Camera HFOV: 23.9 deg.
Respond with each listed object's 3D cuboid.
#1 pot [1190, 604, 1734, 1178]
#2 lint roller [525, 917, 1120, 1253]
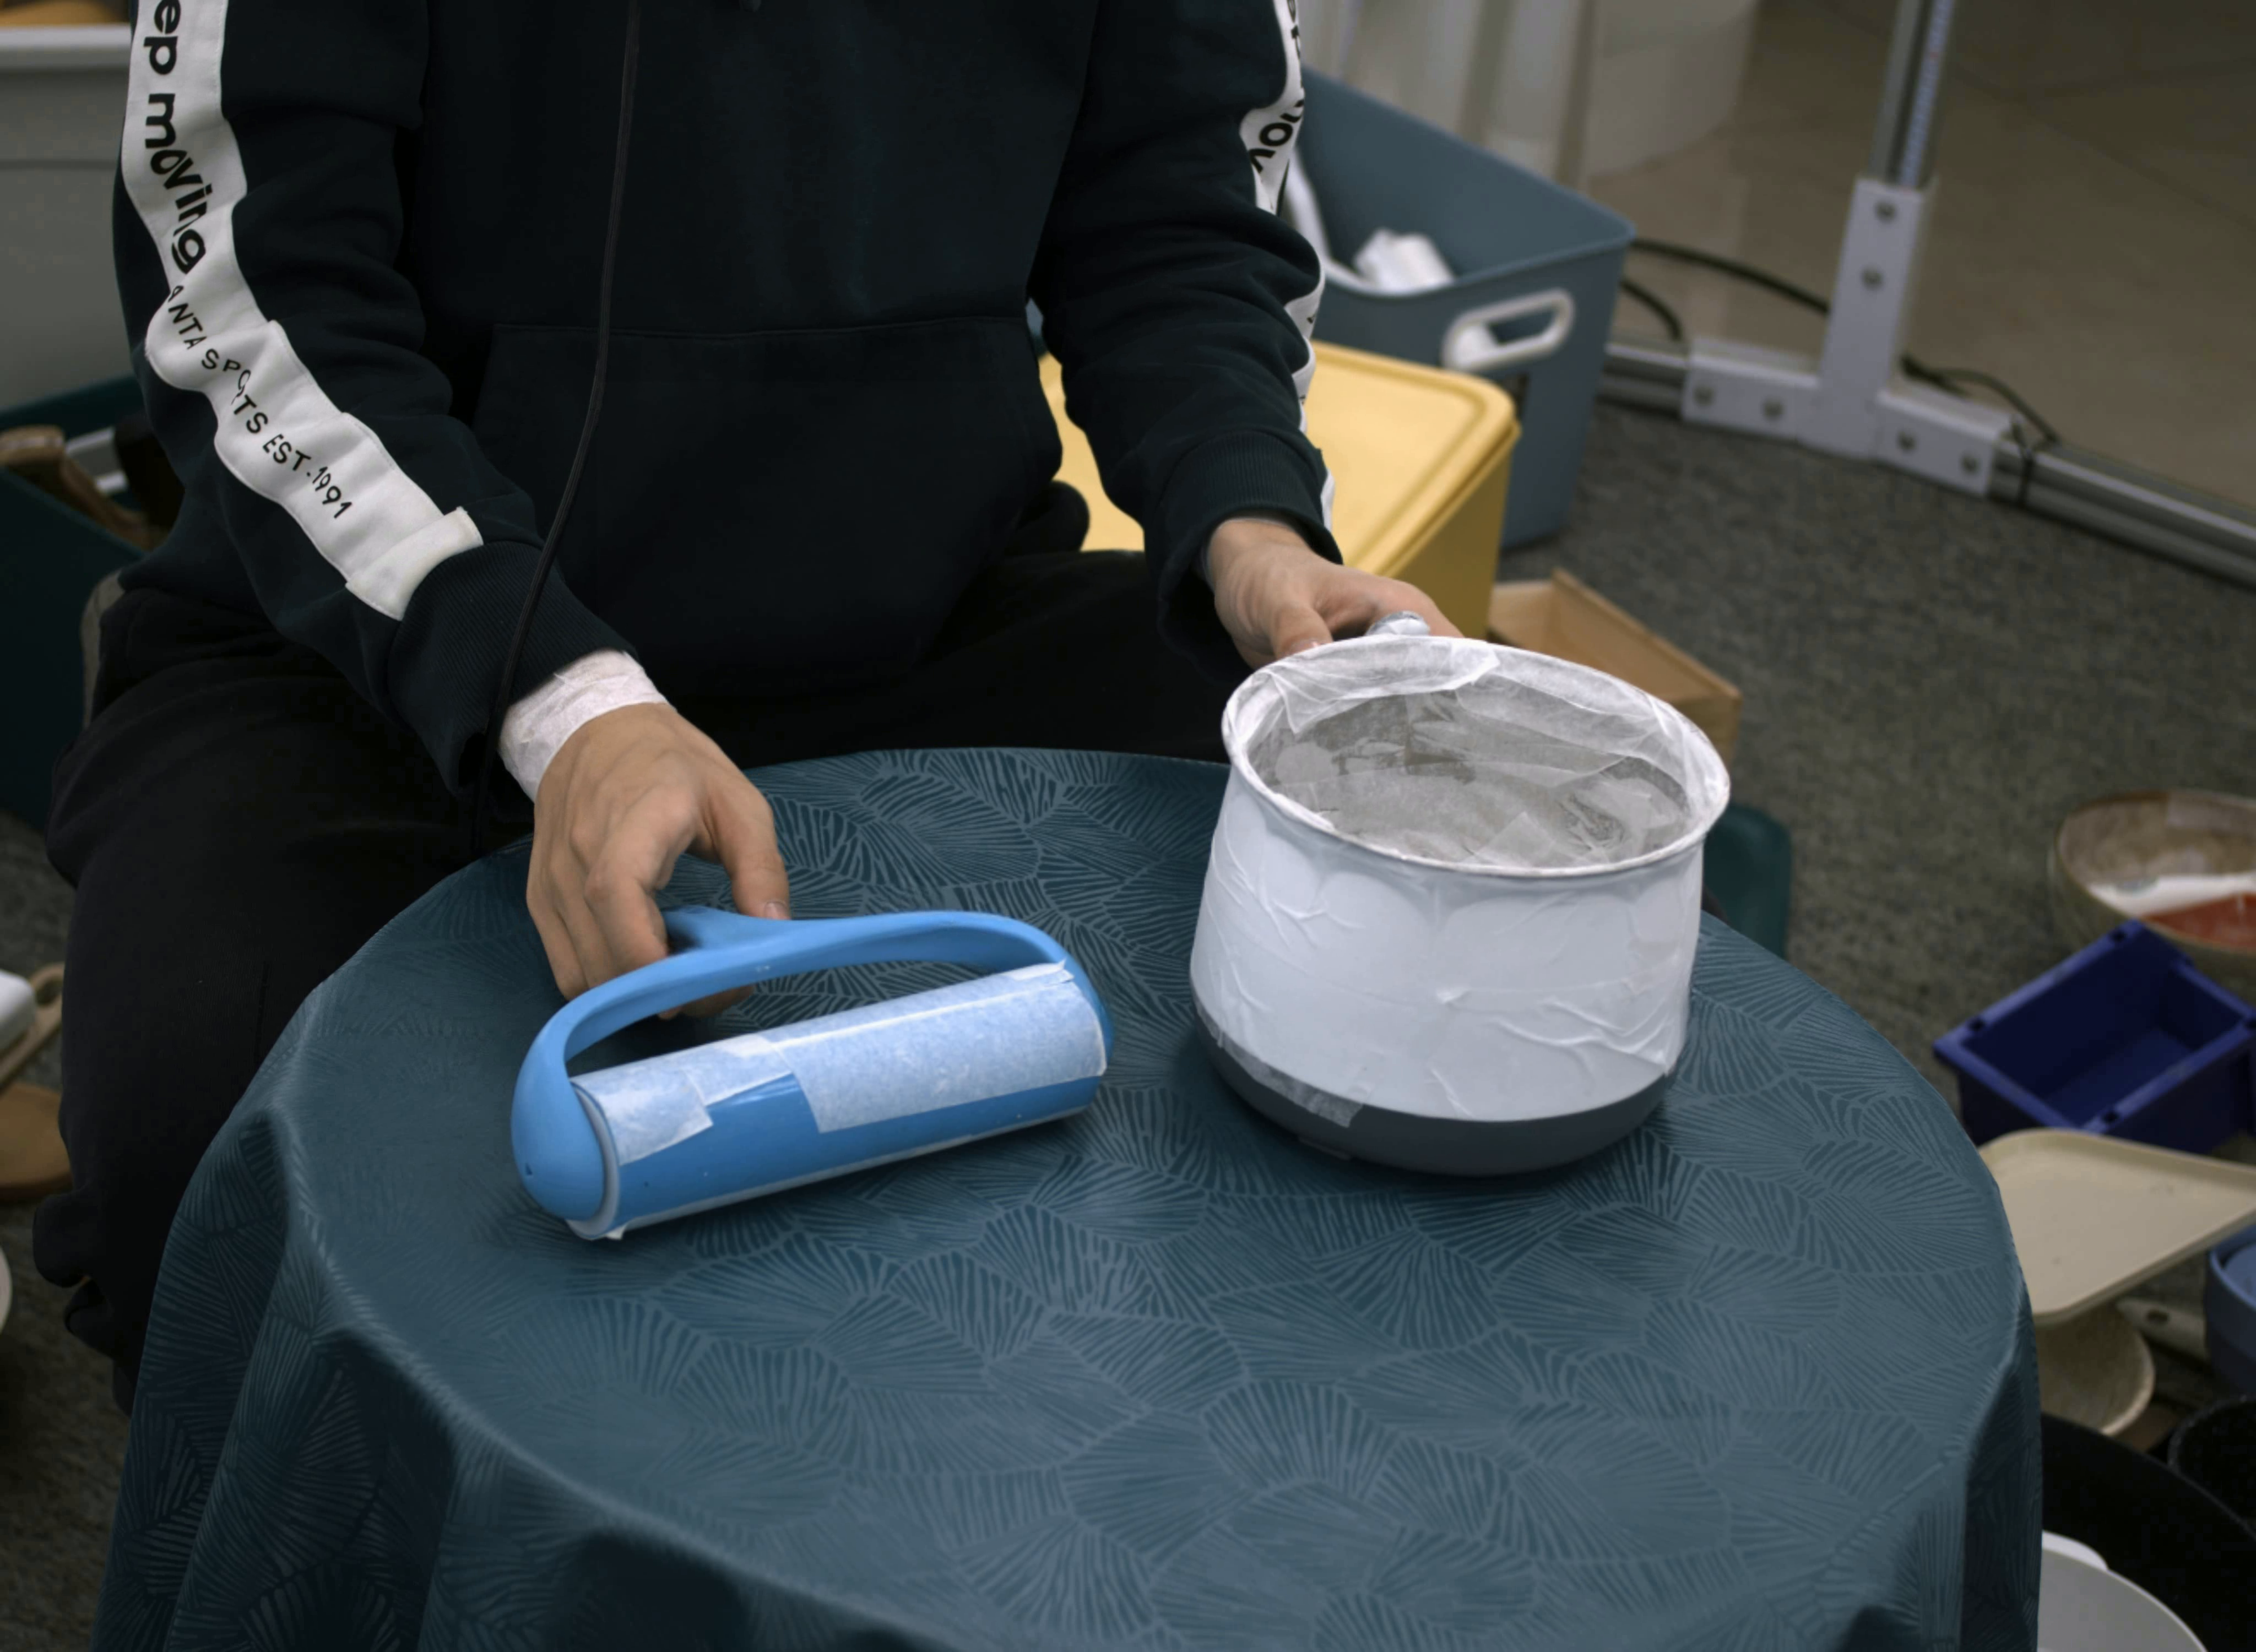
[{"bbox_3d":[0.107,0.016,1.880,0.178,0.136,0.235,0,29,-13],"label":"pot"},{"bbox_3d":[-0.135,0.067,1.819,0.227,0.067,0.182,-17,36,-35],"label":"lint roller"}]
